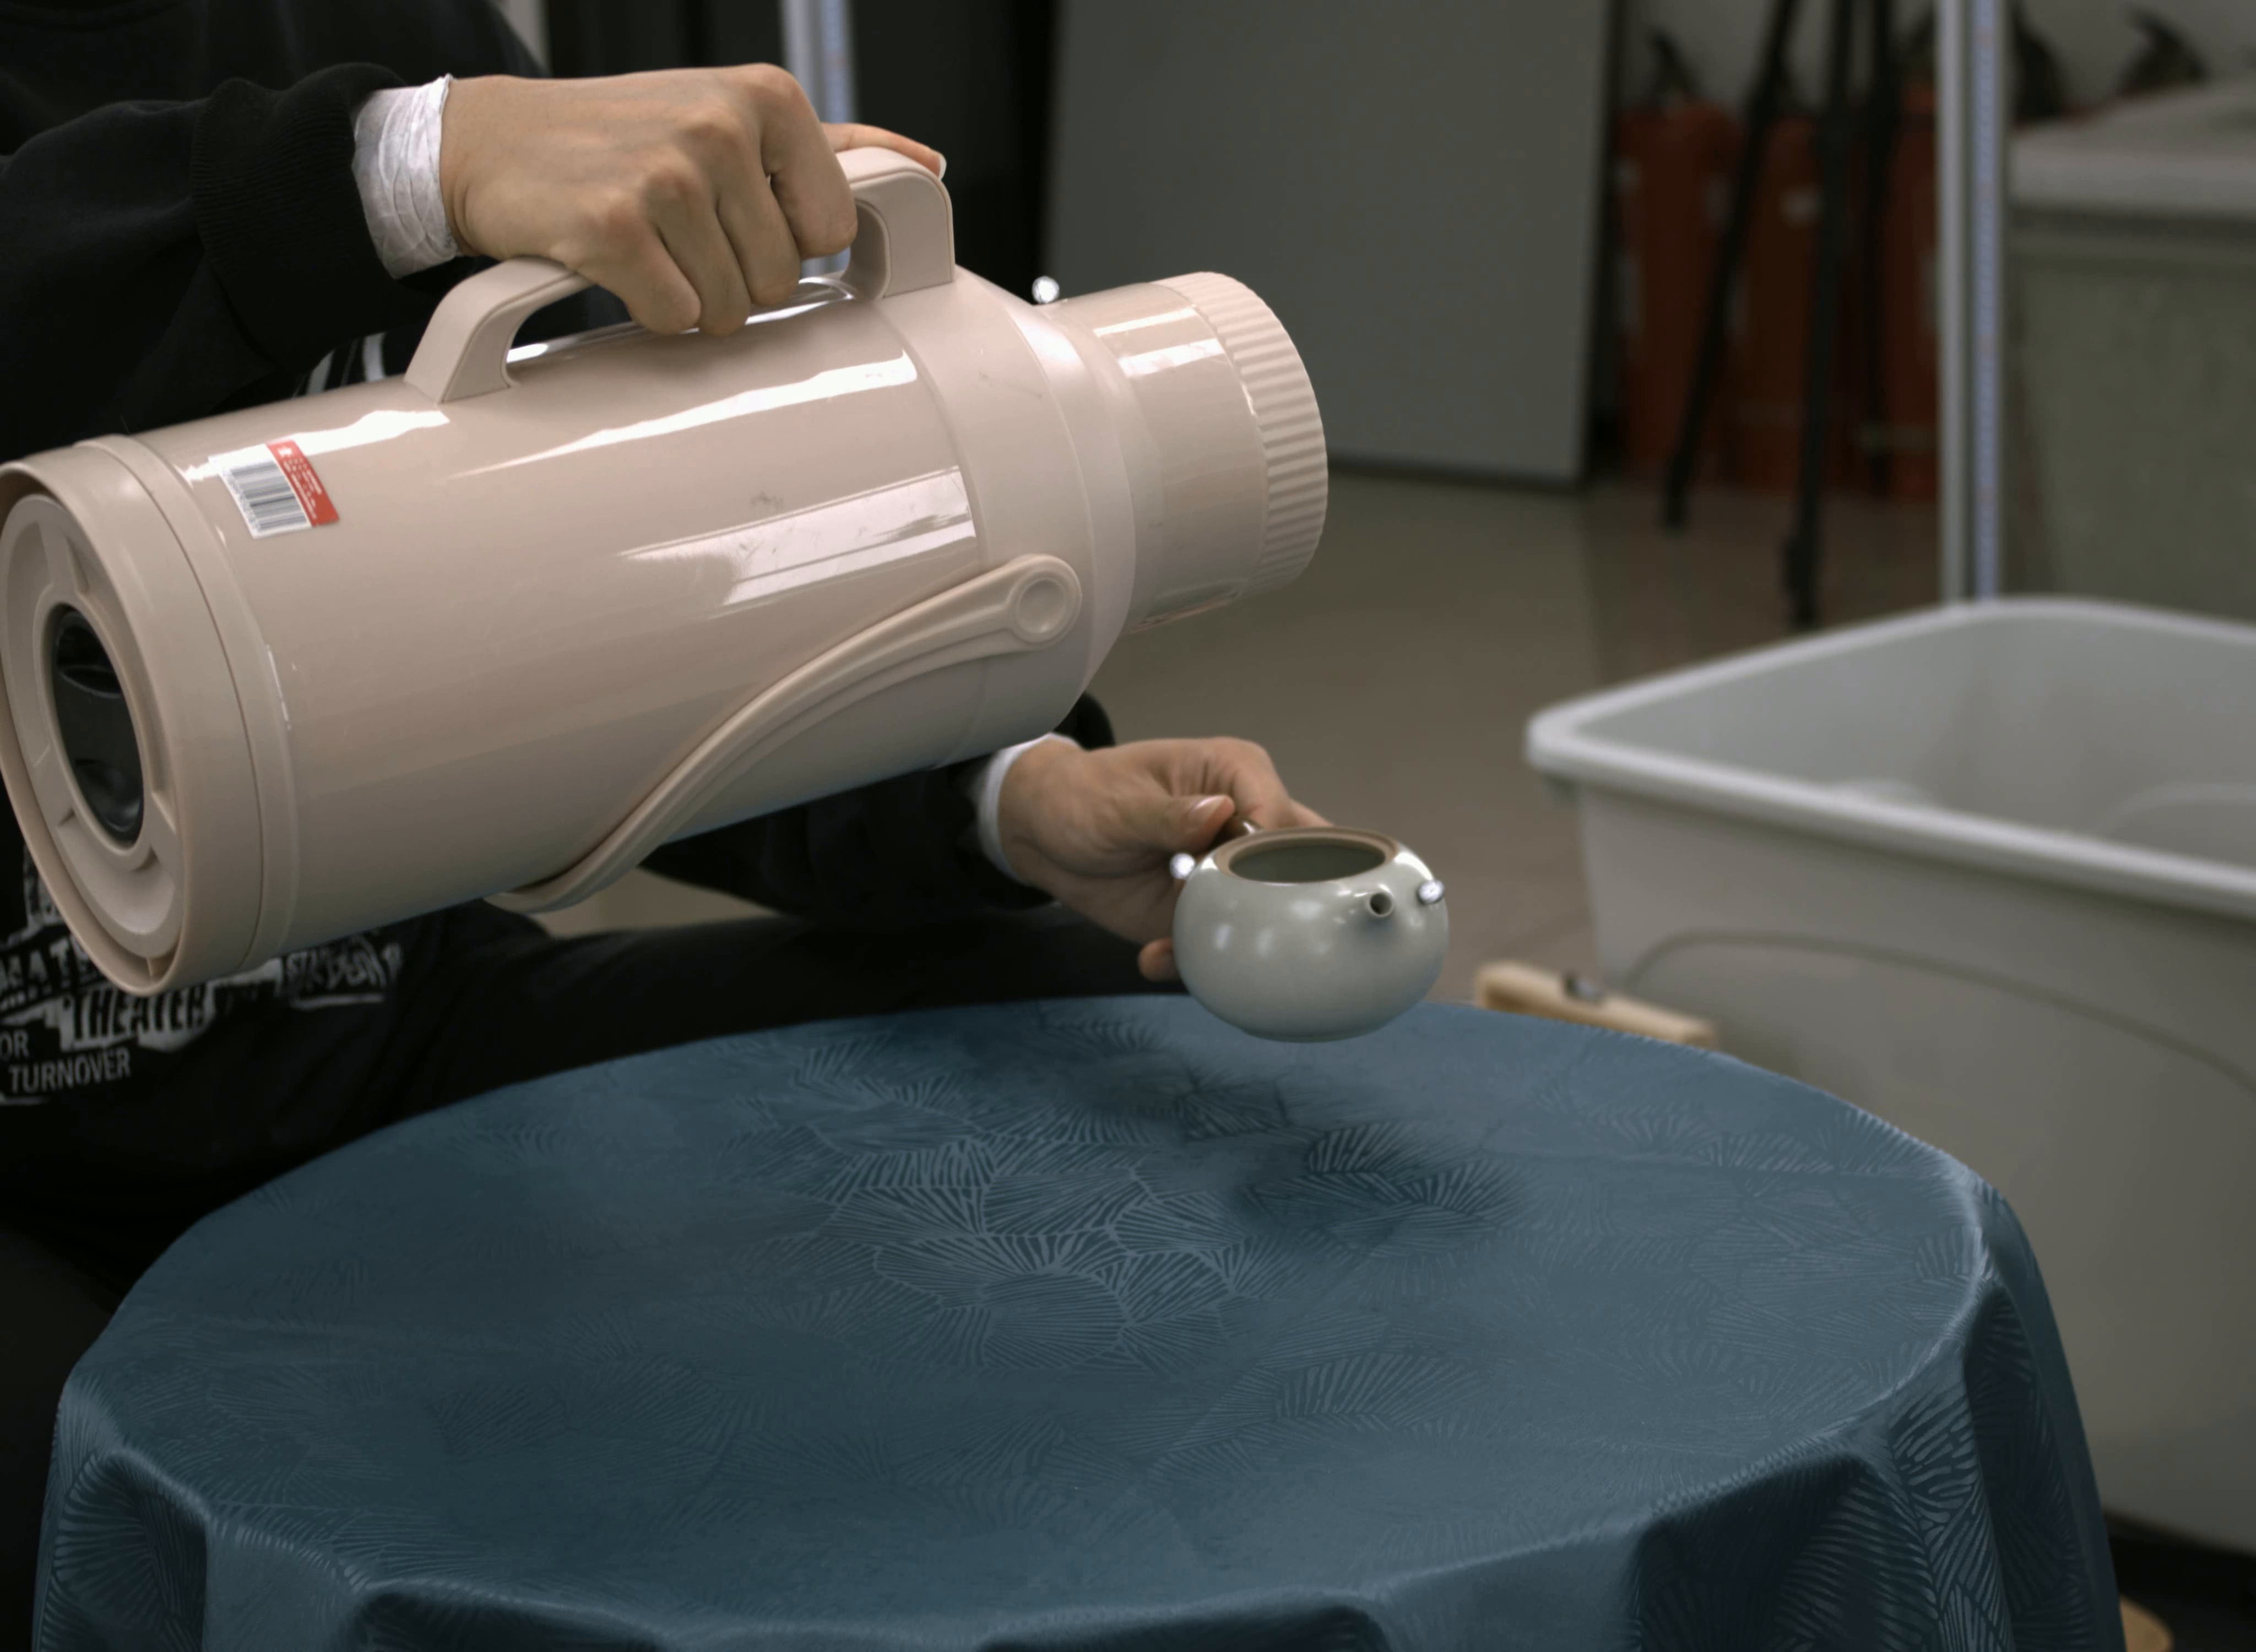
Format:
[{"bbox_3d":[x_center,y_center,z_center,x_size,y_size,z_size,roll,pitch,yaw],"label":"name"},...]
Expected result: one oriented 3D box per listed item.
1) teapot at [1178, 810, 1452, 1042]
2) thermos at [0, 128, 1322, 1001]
[{"bbox_3d":[0.057,0.032,1.785,0.090,0.060,0.129,-16,21,-23],"label":"teapot"},{"bbox_3d":[-0.137,-0.091,1.625,0.398,0.209,0.177,-16,28,-25],"label":"thermos"}]
